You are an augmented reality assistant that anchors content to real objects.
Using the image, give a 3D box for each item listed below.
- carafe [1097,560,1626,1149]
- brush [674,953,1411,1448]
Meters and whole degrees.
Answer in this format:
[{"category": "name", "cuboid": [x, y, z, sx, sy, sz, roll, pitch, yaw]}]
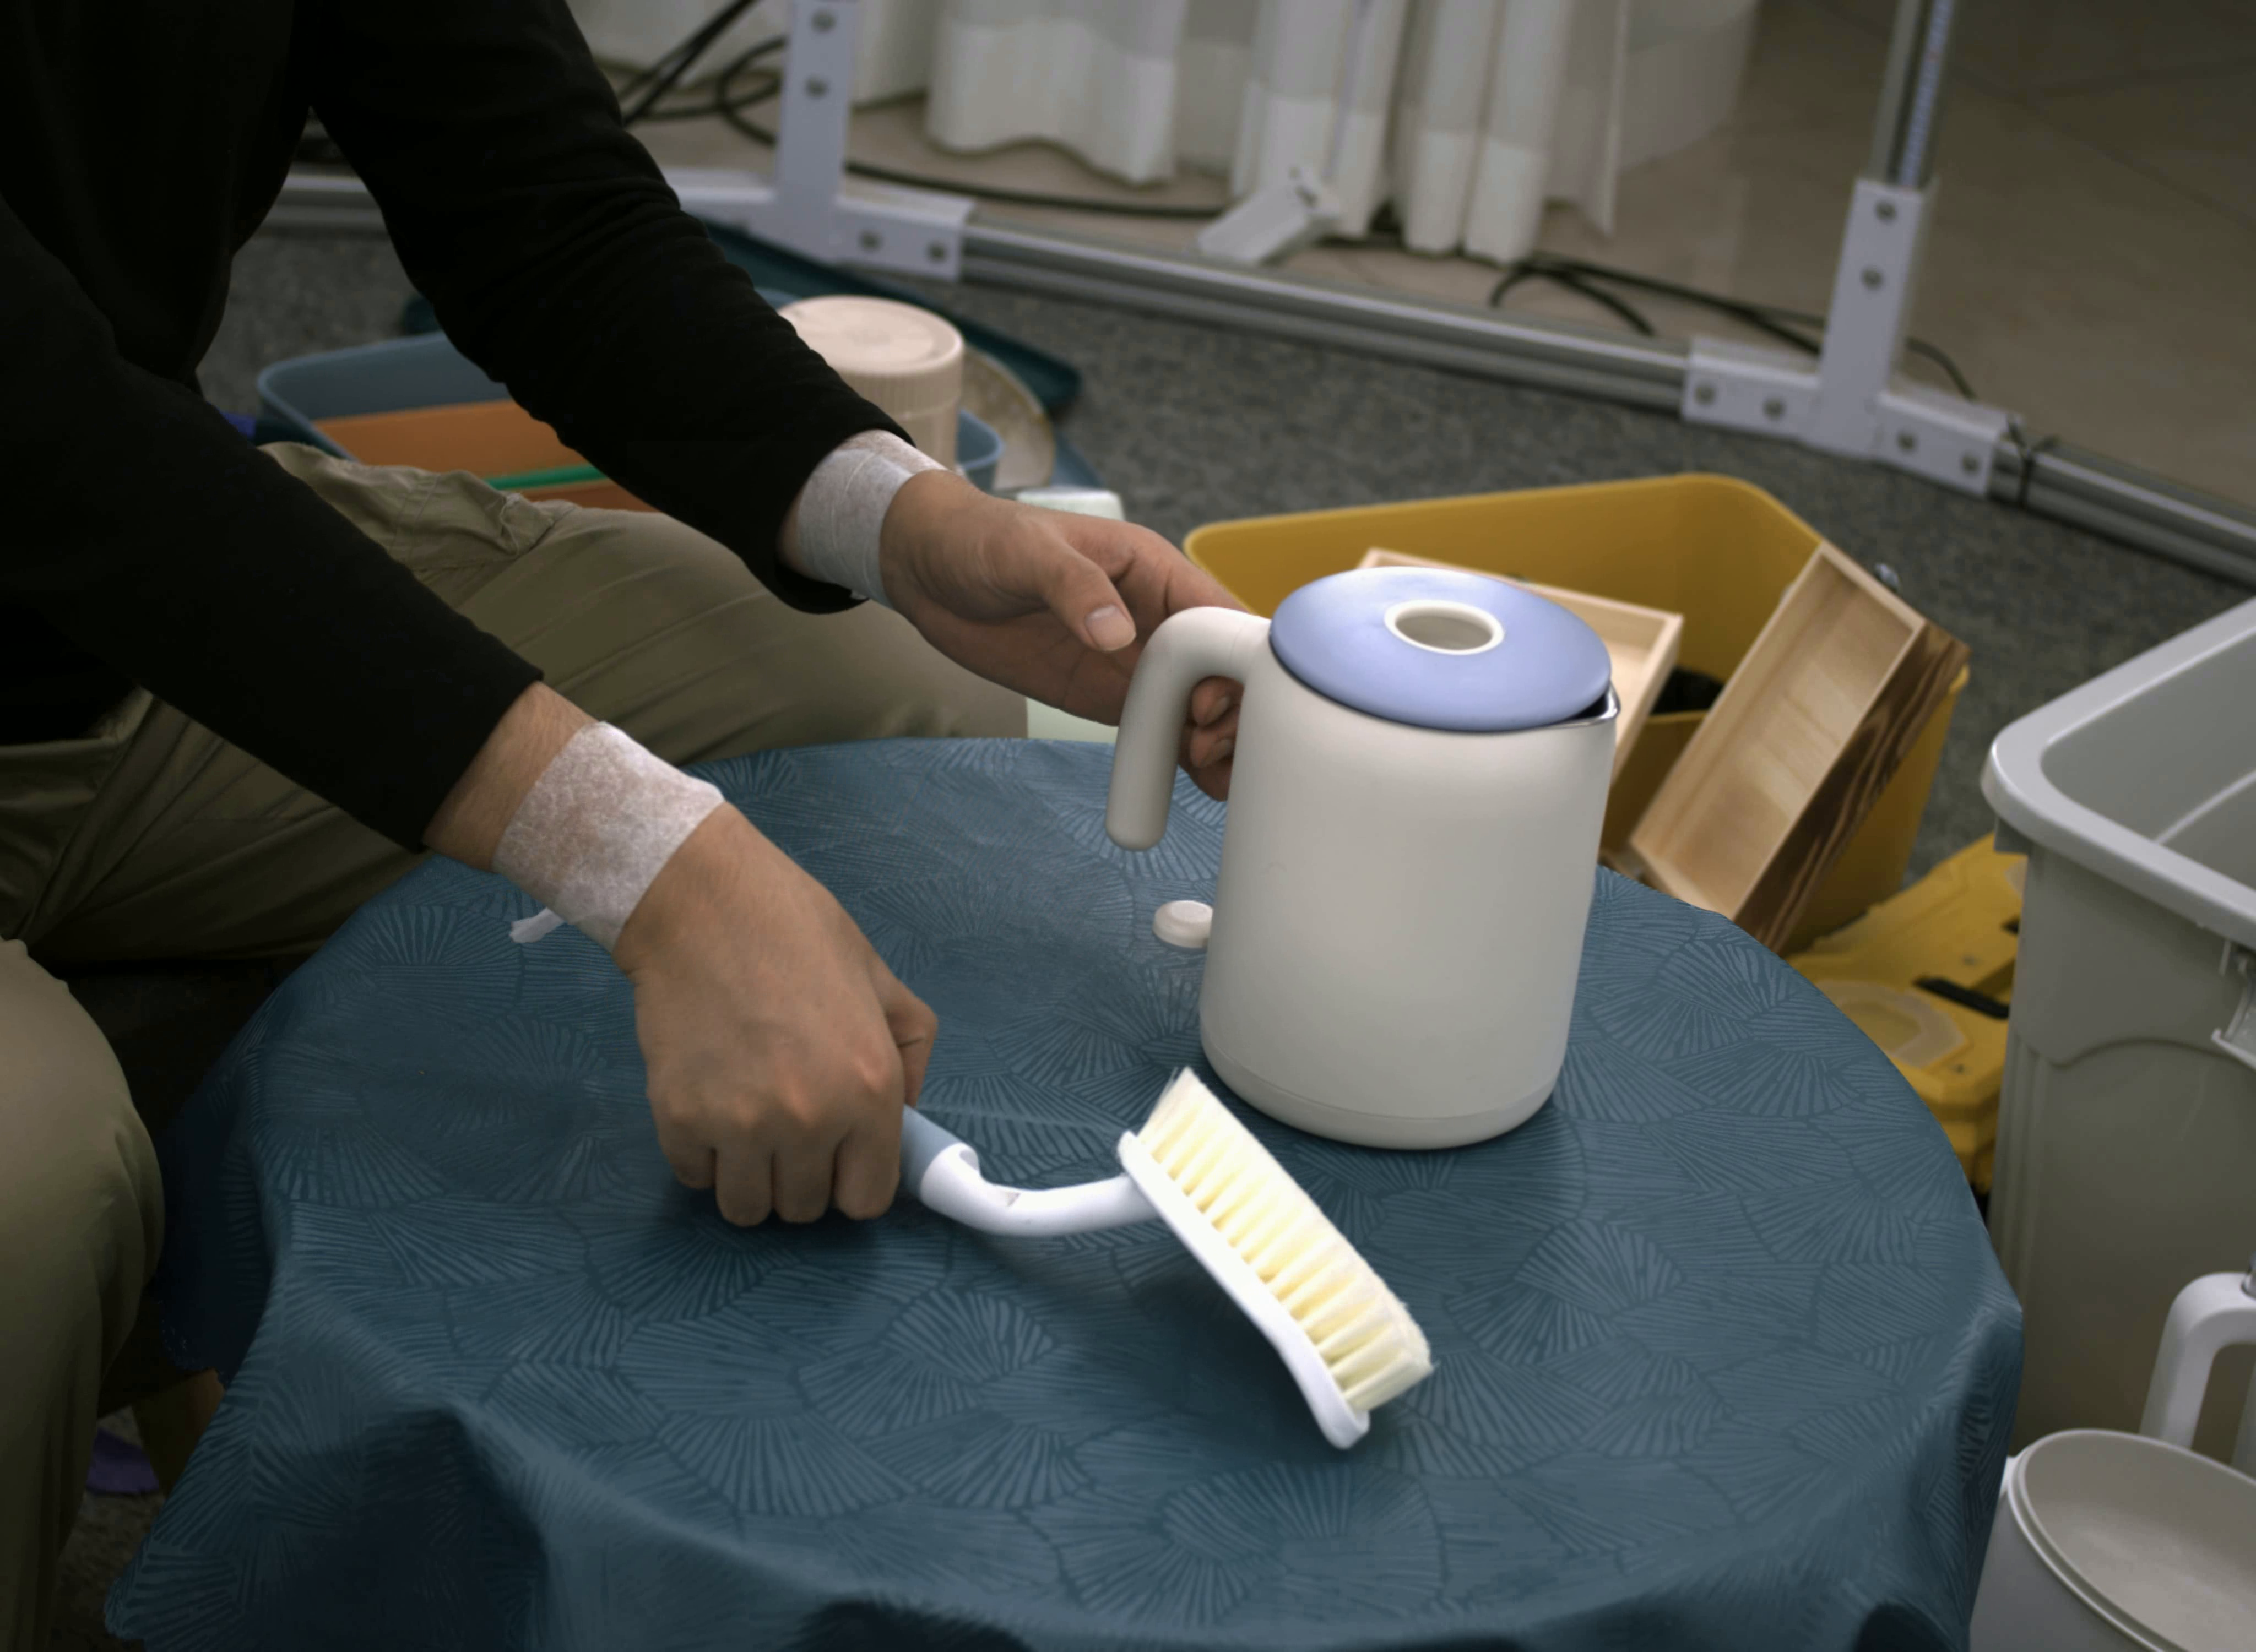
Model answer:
[{"category": "carafe", "cuboid": [0.076, 0.002, 1.868, 0.192, 0.182, 0.132, 18, 28, 24]}, {"category": "brush", "cuboid": [-0.025, 0.094, 1.758, 0.084, 0.083, 0.328, -24, 42, -37]}]
